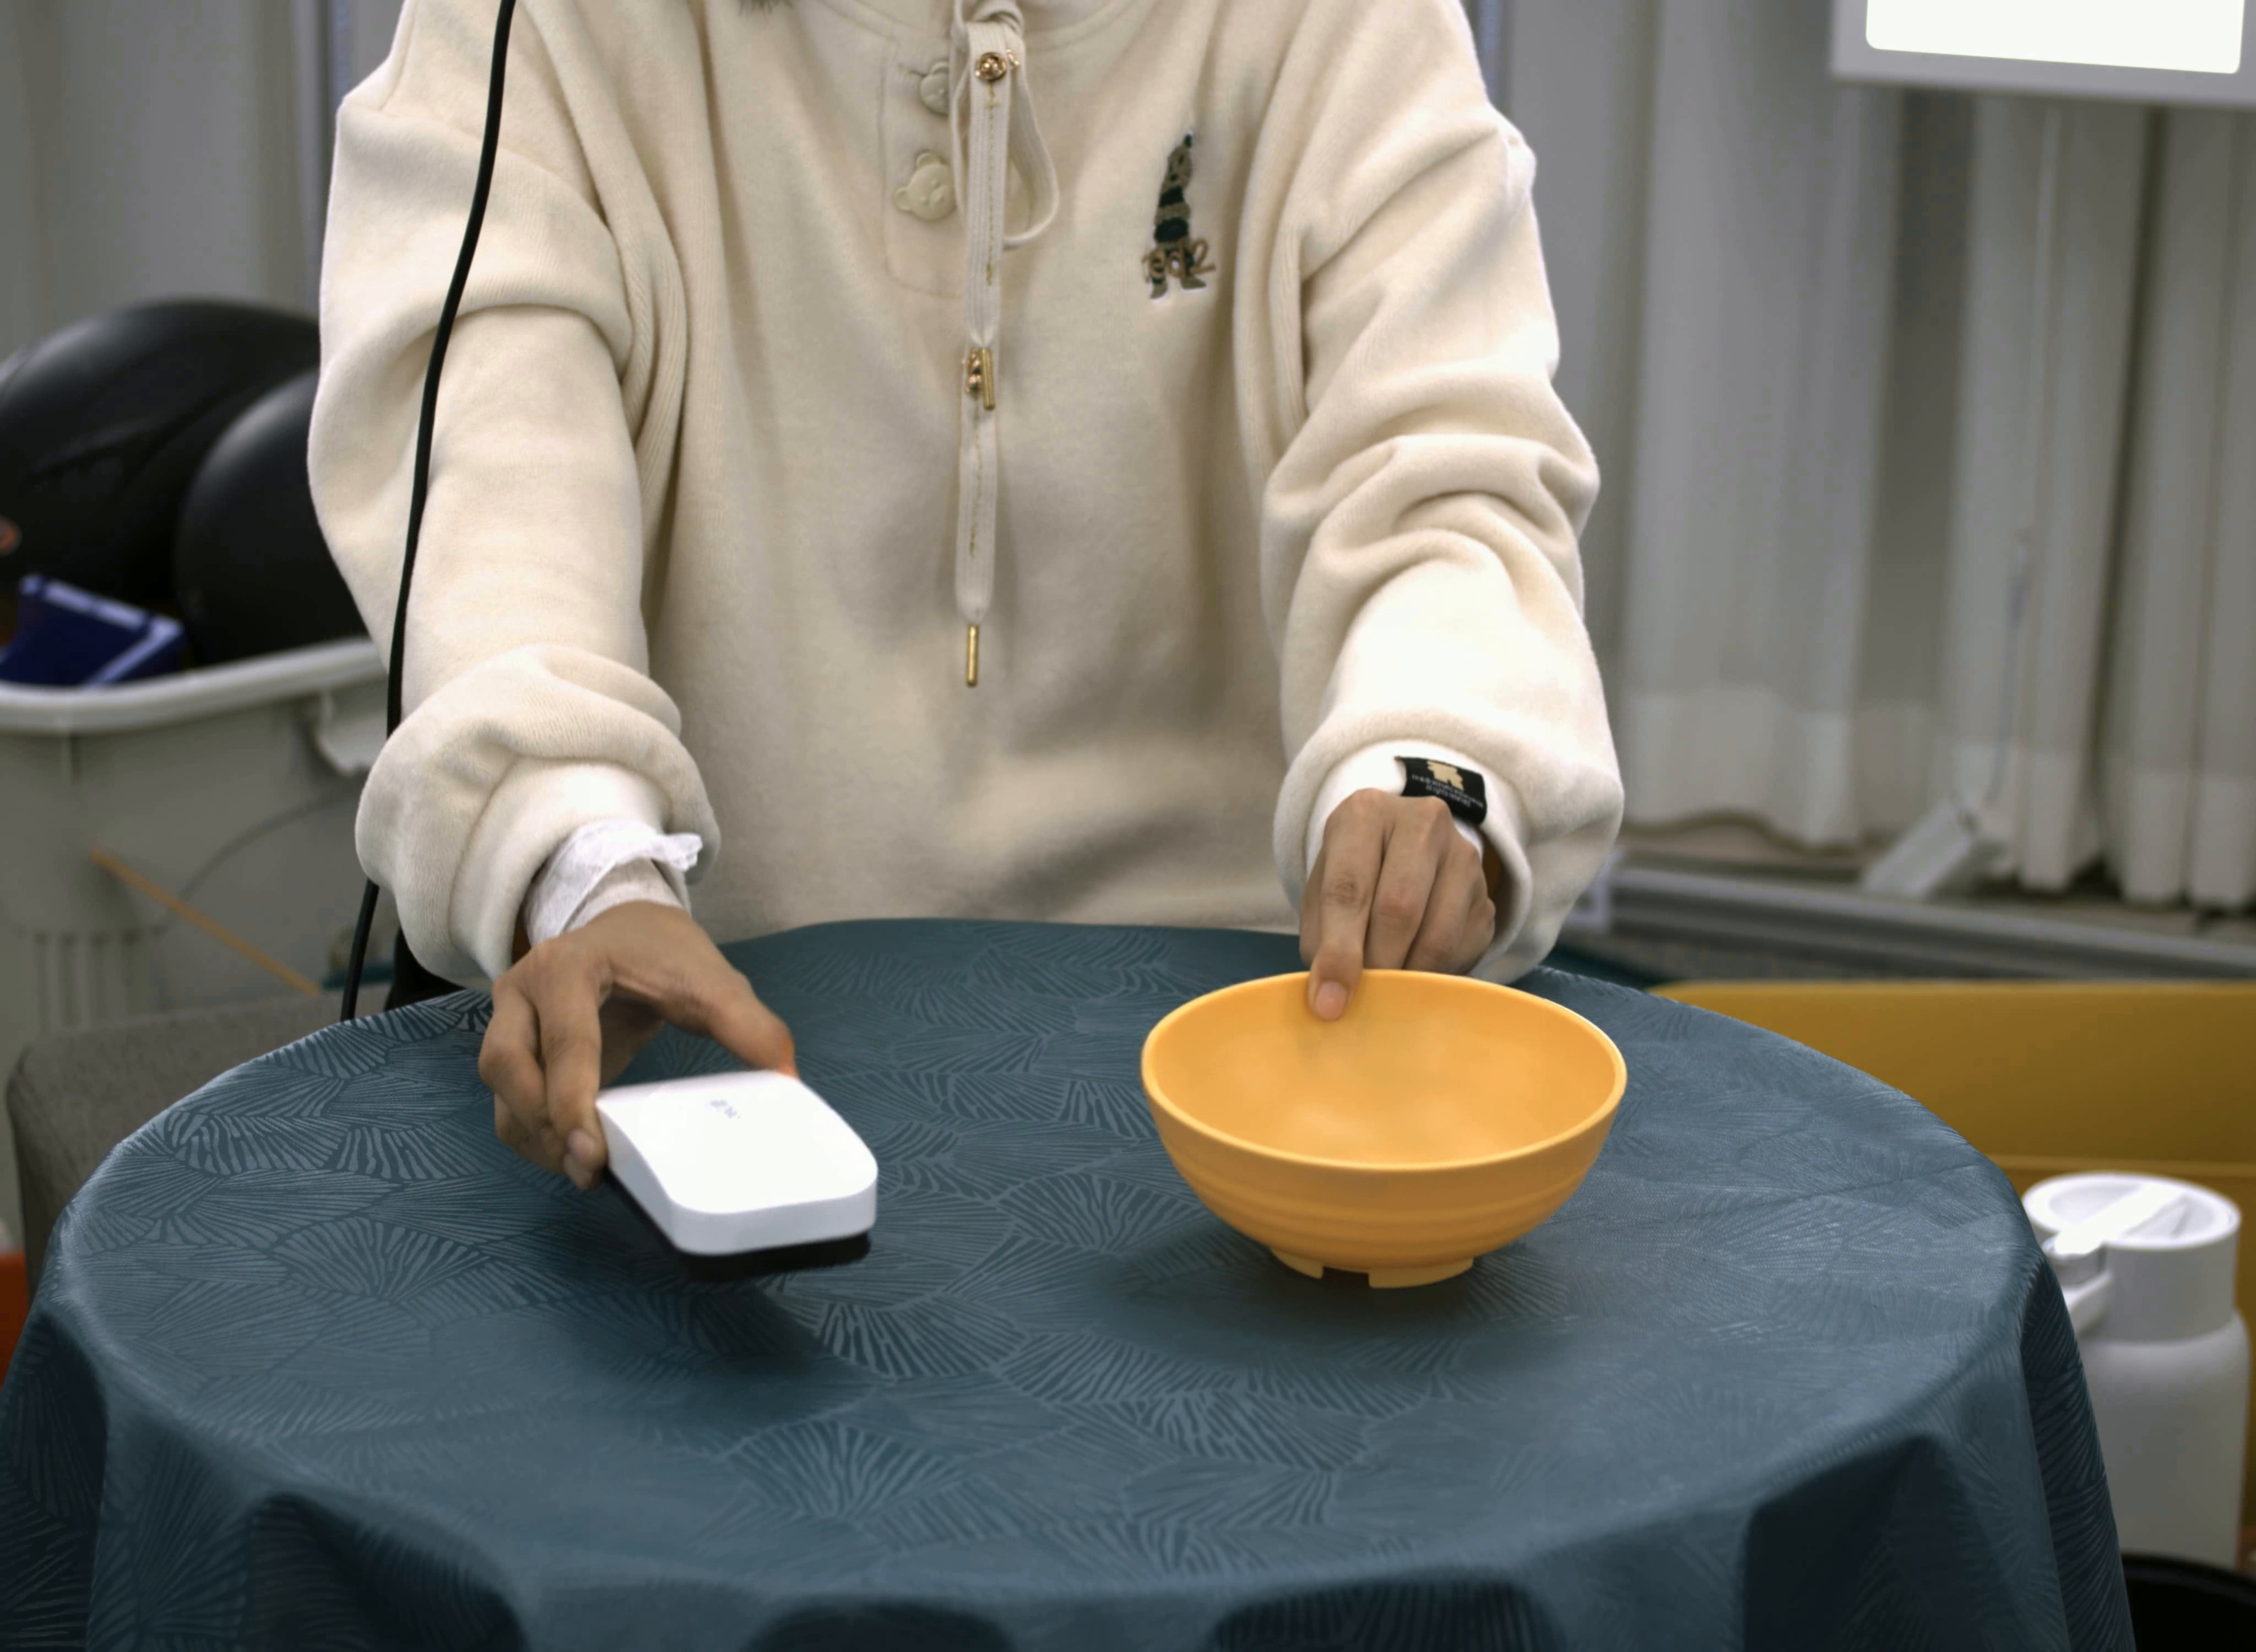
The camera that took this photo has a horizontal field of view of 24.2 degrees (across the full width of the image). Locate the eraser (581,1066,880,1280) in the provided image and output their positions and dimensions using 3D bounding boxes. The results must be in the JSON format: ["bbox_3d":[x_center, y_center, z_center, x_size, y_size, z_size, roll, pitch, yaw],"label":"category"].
[{"bbox_3d":[-0.114,0.095,1.512,0.063,0.035,0.130,-6,15,-18],"label":"eraser"}]

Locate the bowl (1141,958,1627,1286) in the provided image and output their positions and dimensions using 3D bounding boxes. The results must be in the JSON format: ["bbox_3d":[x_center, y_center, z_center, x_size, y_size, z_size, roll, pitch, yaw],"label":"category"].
[{"bbox_3d":[0.075,0.096,1.562,0.145,0.061,0.144,2,24,0],"label":"bowl"}]
